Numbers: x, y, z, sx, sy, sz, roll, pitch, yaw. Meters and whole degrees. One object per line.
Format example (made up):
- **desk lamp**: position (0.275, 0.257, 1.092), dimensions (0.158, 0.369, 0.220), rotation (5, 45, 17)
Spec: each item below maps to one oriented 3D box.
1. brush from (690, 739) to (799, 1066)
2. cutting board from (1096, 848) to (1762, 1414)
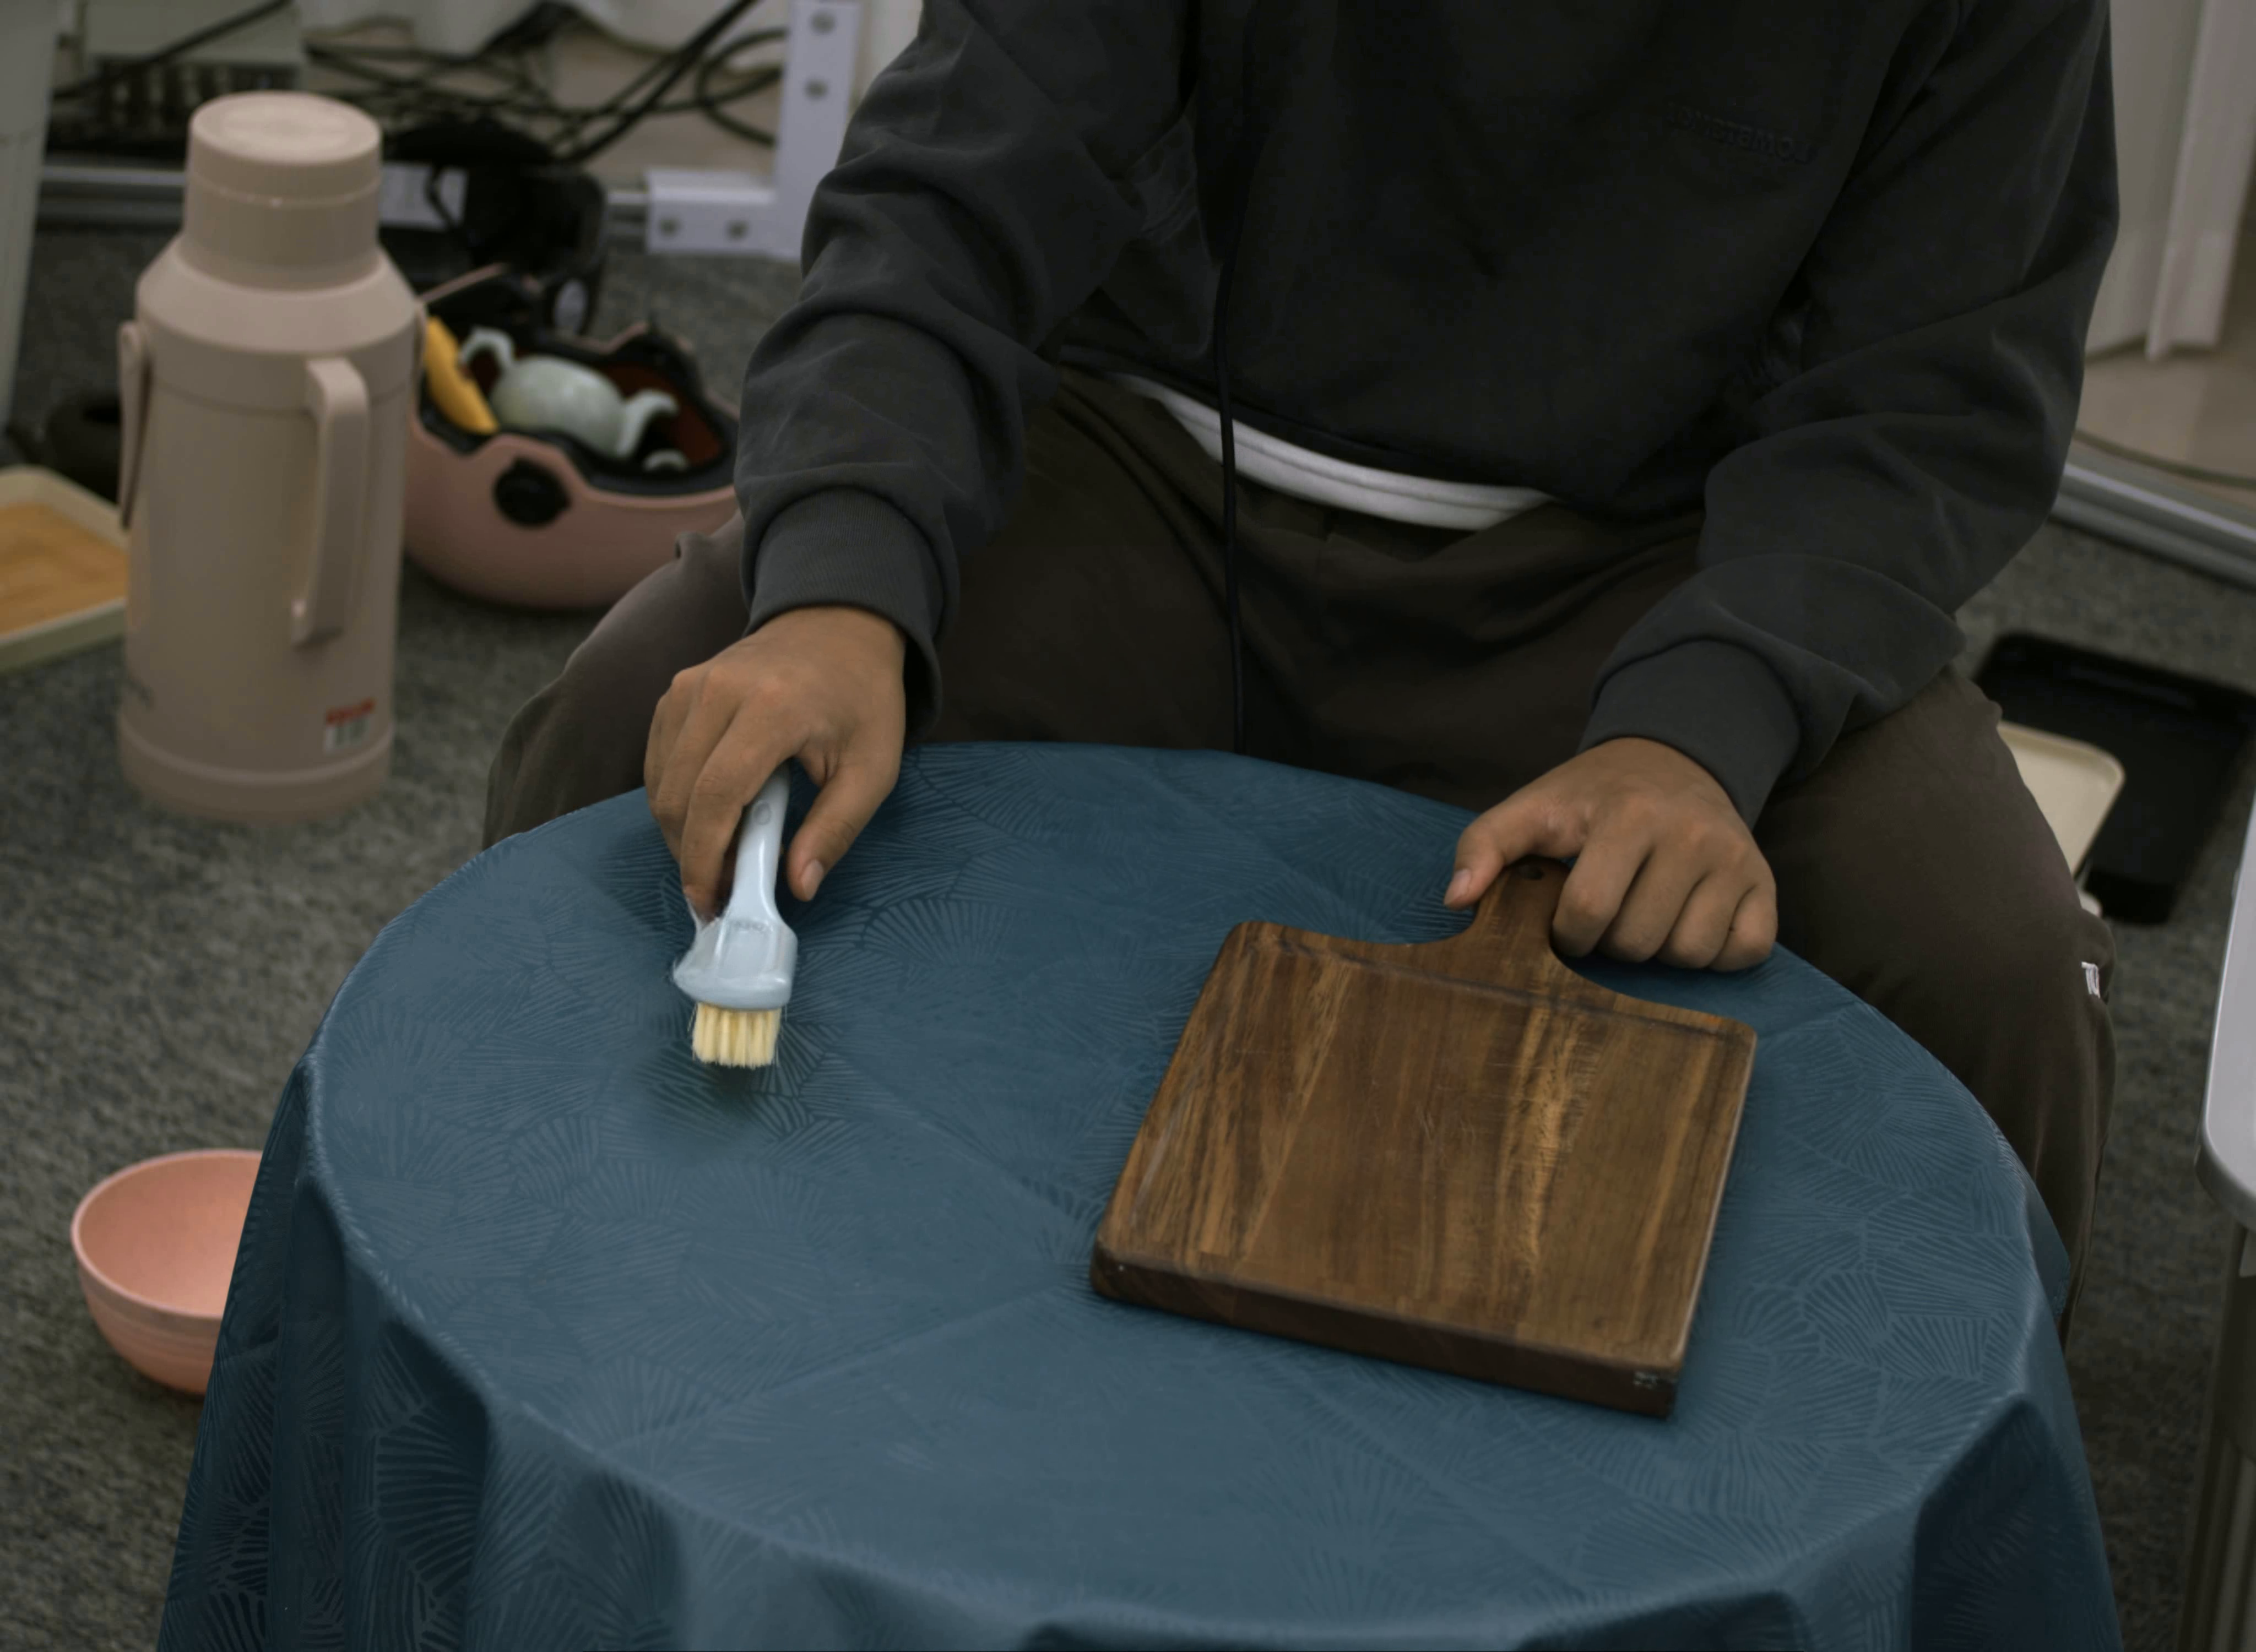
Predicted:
- **brush**: position (-0.136, 0.026, 1.917), dimensions (0.037, 0.049, 0.230), rotation (5, 25, -5)
- **cutting board**: position (0.120, 0.091, 1.876), dimensions (0.201, 0.023, 0.353), rotation (12, 27, 9)
